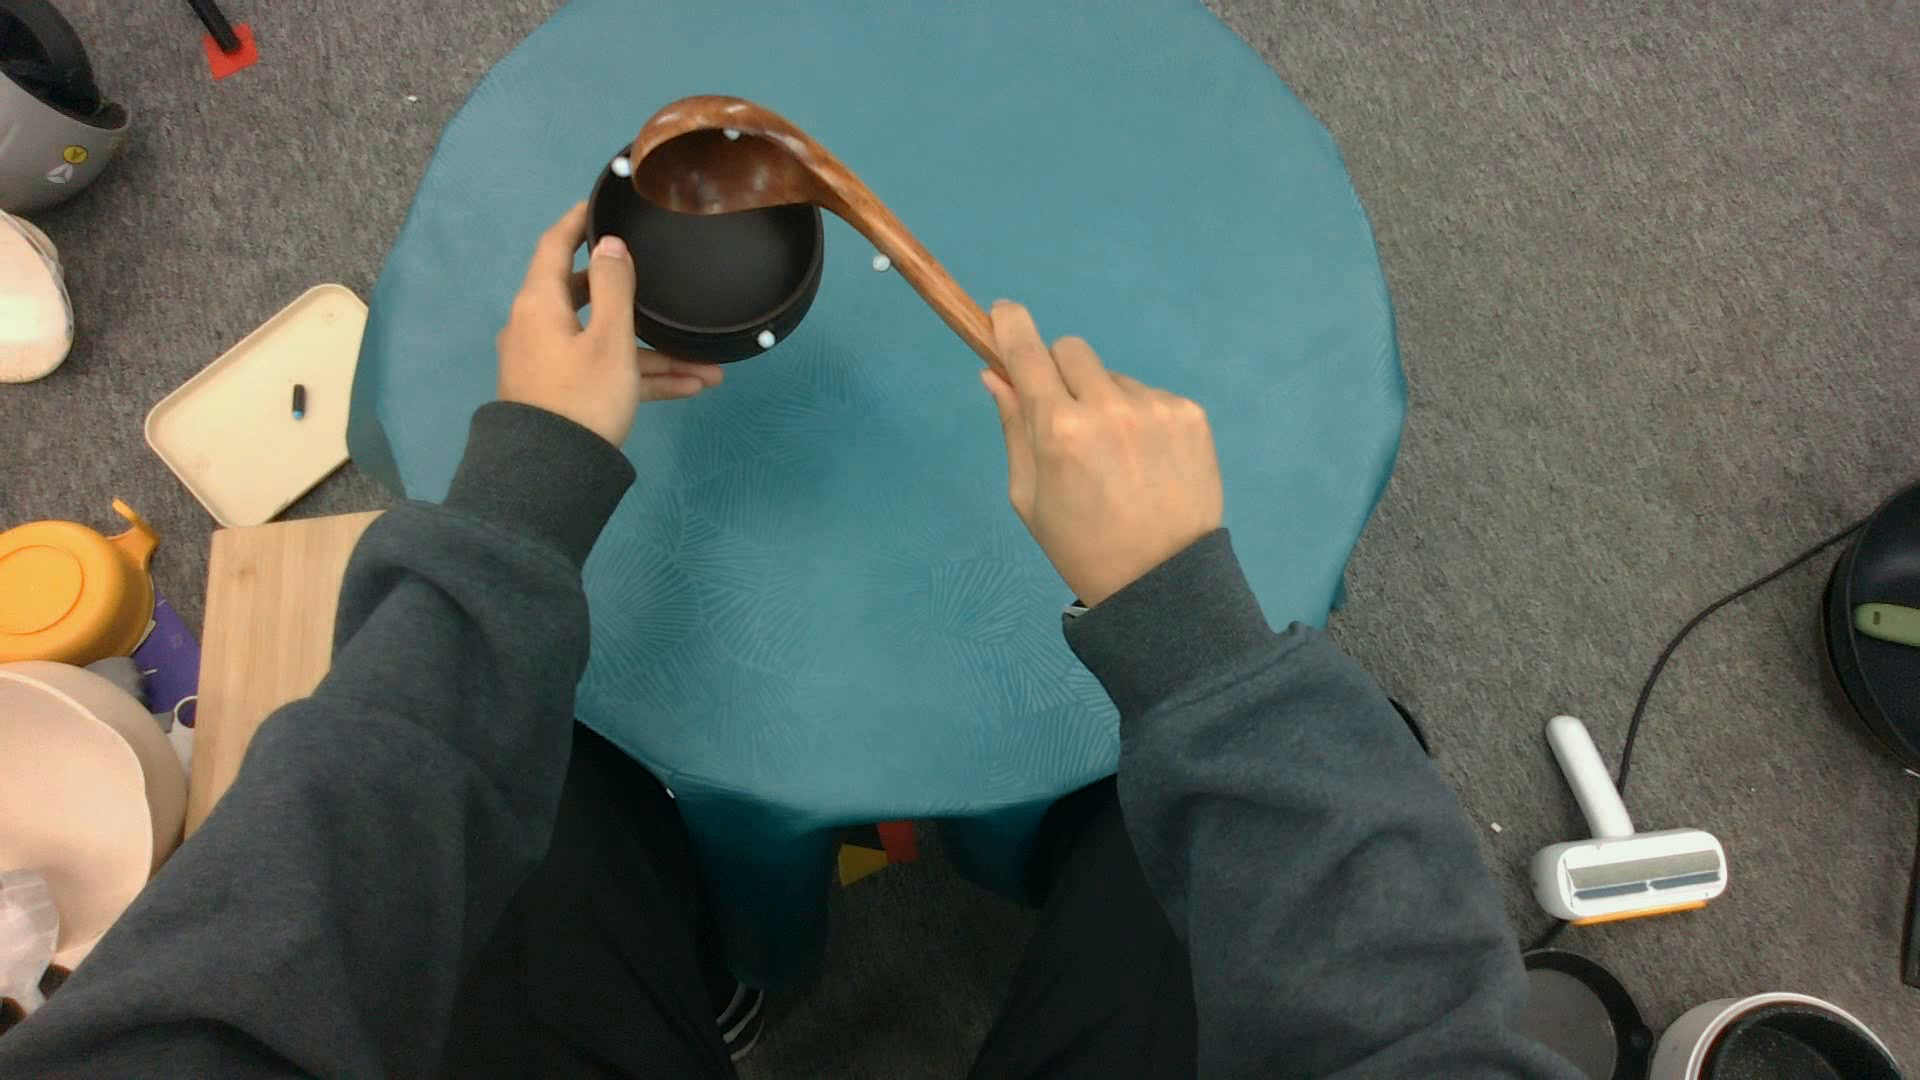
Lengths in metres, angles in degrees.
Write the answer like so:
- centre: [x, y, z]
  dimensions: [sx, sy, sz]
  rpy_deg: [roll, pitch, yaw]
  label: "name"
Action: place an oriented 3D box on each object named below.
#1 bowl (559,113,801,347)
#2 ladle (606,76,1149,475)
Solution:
- centre: [-0.141, -0.152, 0.700]
  dimensions: [0.118, 0.069, 0.118]
  rpy_deg: [3, 72, -10]
  label: "bowl"
- centre: [-0.041, -0.104, 0.604]
  dimensions: [0.274, 0.082, 0.077]
  rpy_deg: [44, 82, 6]
  label: "ladle"
